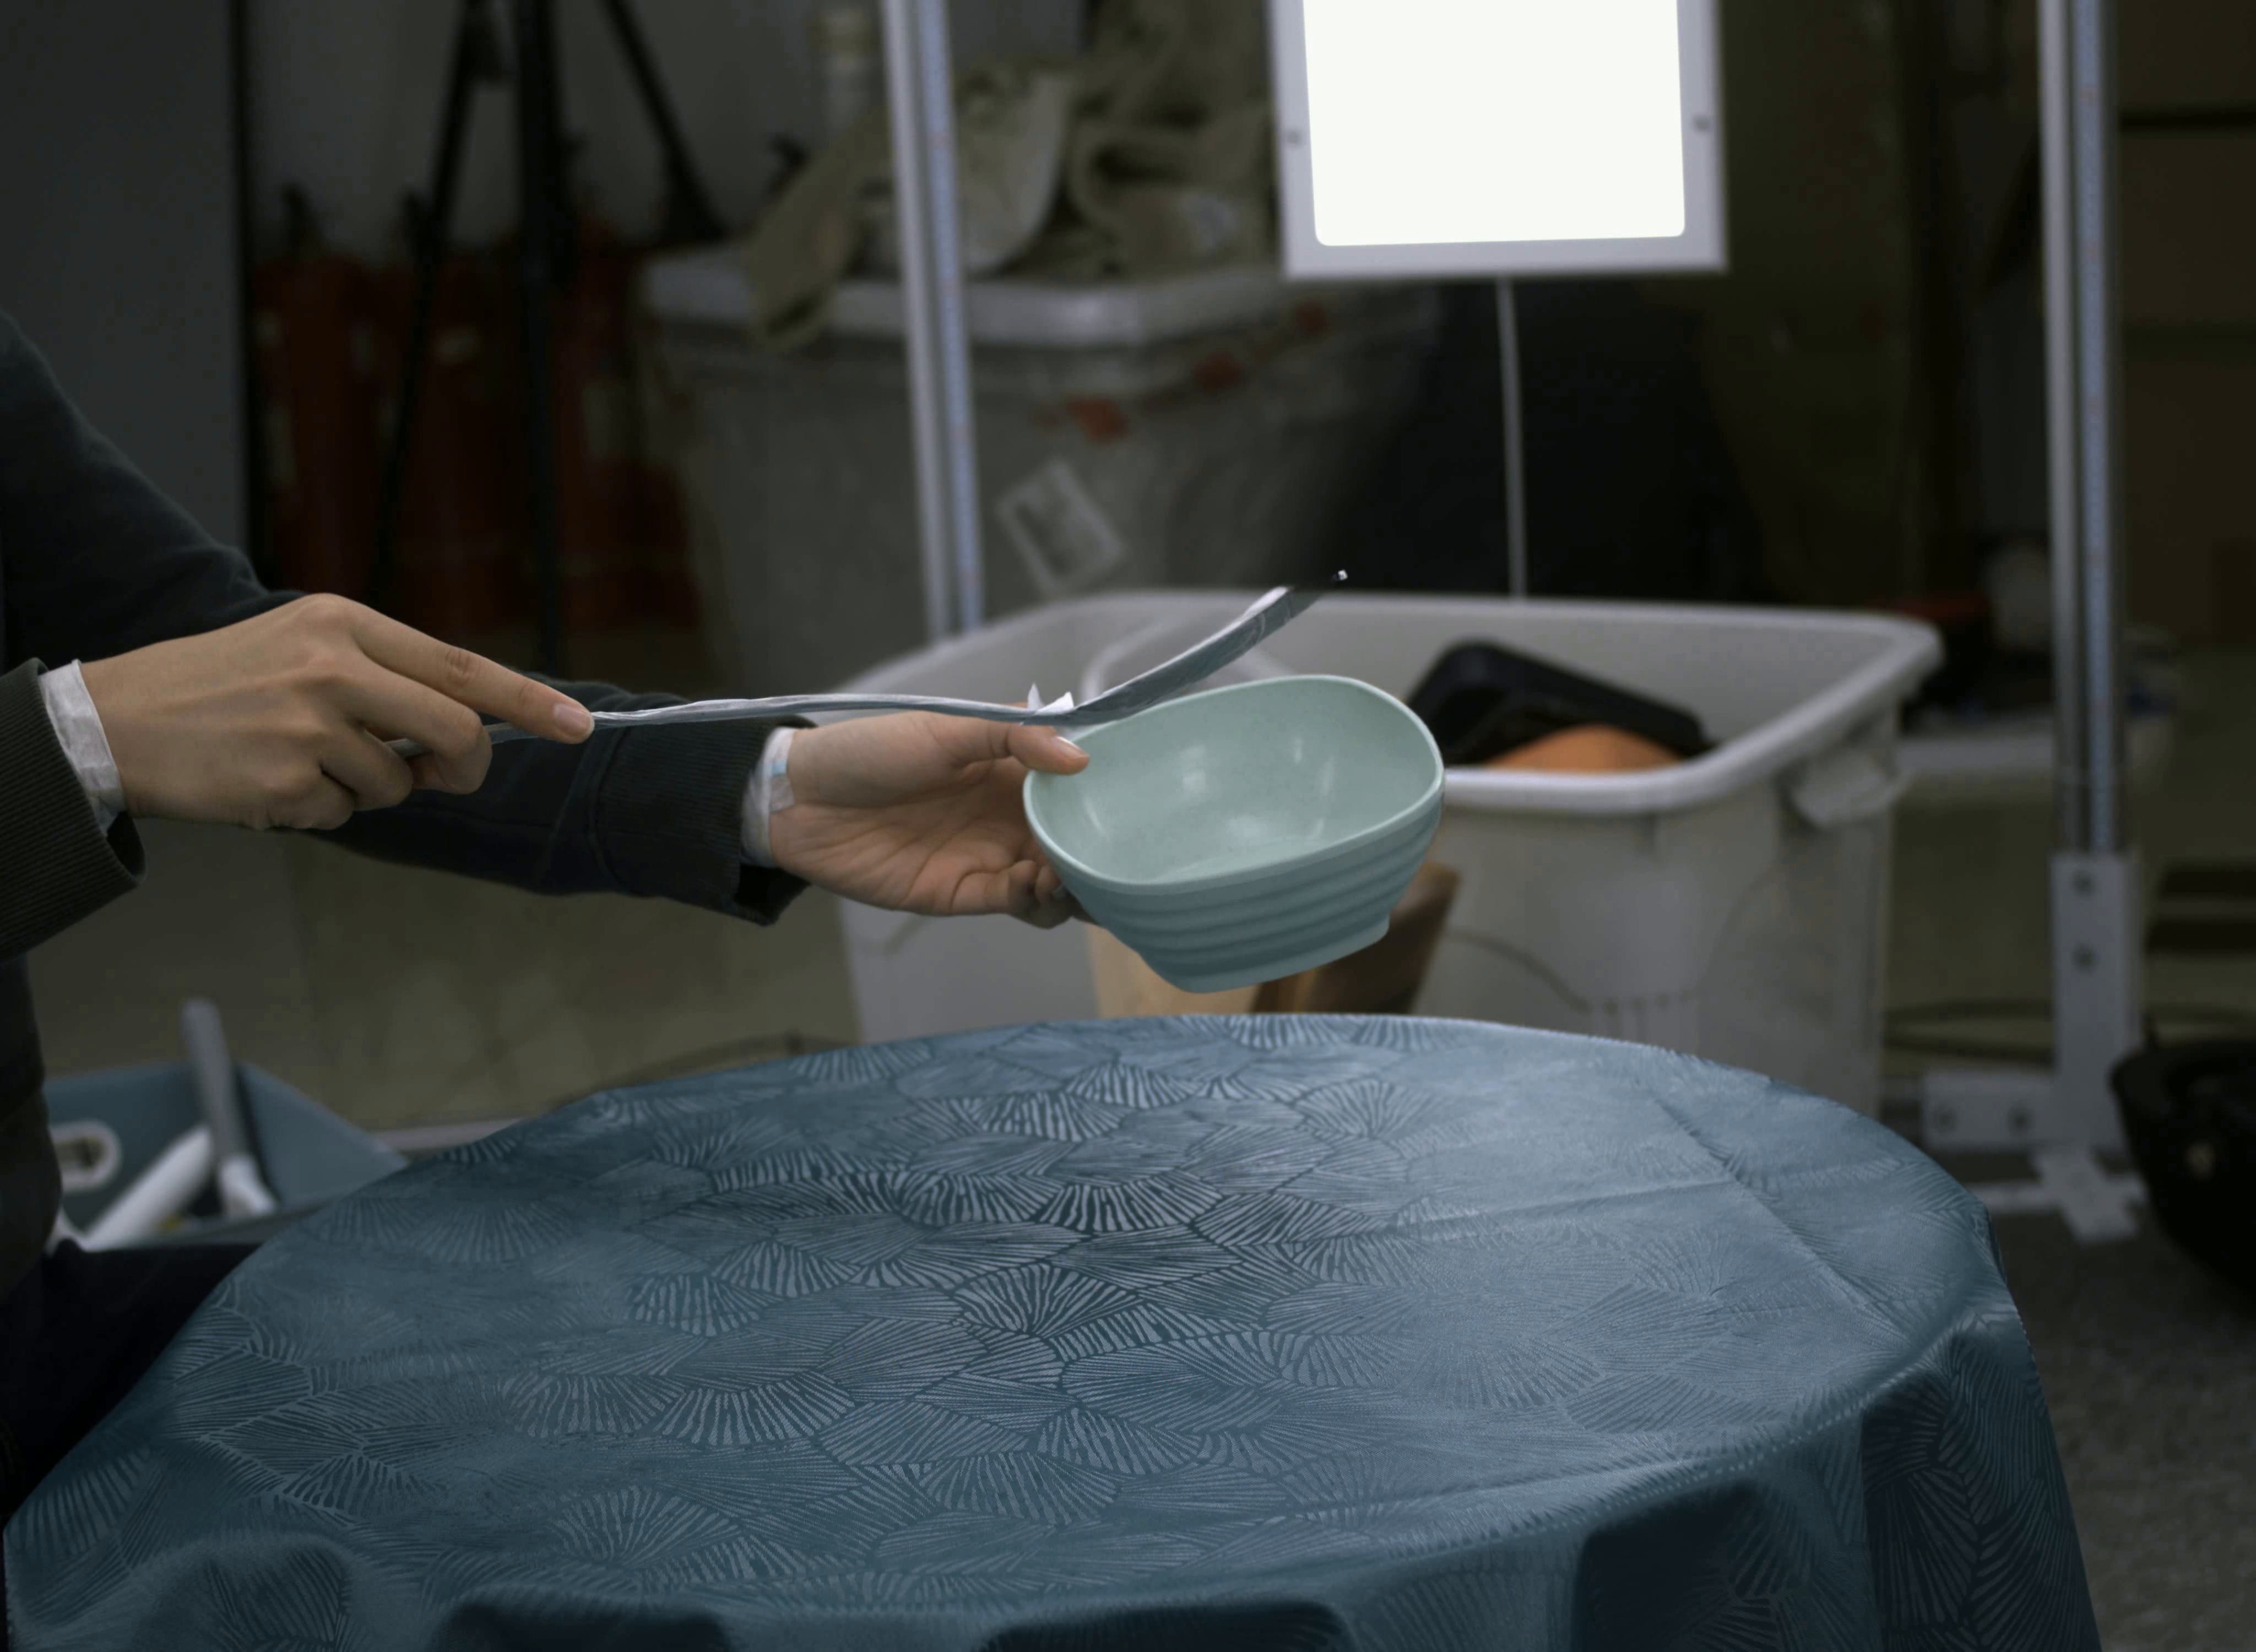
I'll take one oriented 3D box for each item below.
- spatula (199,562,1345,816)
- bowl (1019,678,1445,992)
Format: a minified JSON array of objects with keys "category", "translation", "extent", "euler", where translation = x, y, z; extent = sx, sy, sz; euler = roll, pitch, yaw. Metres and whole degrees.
[{"category":"spatula","translation":[-0.109,-0.042,1.718],"extent":[0.361,0.045,0.099],"euler":[-5,-2,-8]},{"category":"bowl","translation":[0.037,0.008,1.857],"extent":[0.151,0.059,0.151],"euler":[-7,28,2]}]
